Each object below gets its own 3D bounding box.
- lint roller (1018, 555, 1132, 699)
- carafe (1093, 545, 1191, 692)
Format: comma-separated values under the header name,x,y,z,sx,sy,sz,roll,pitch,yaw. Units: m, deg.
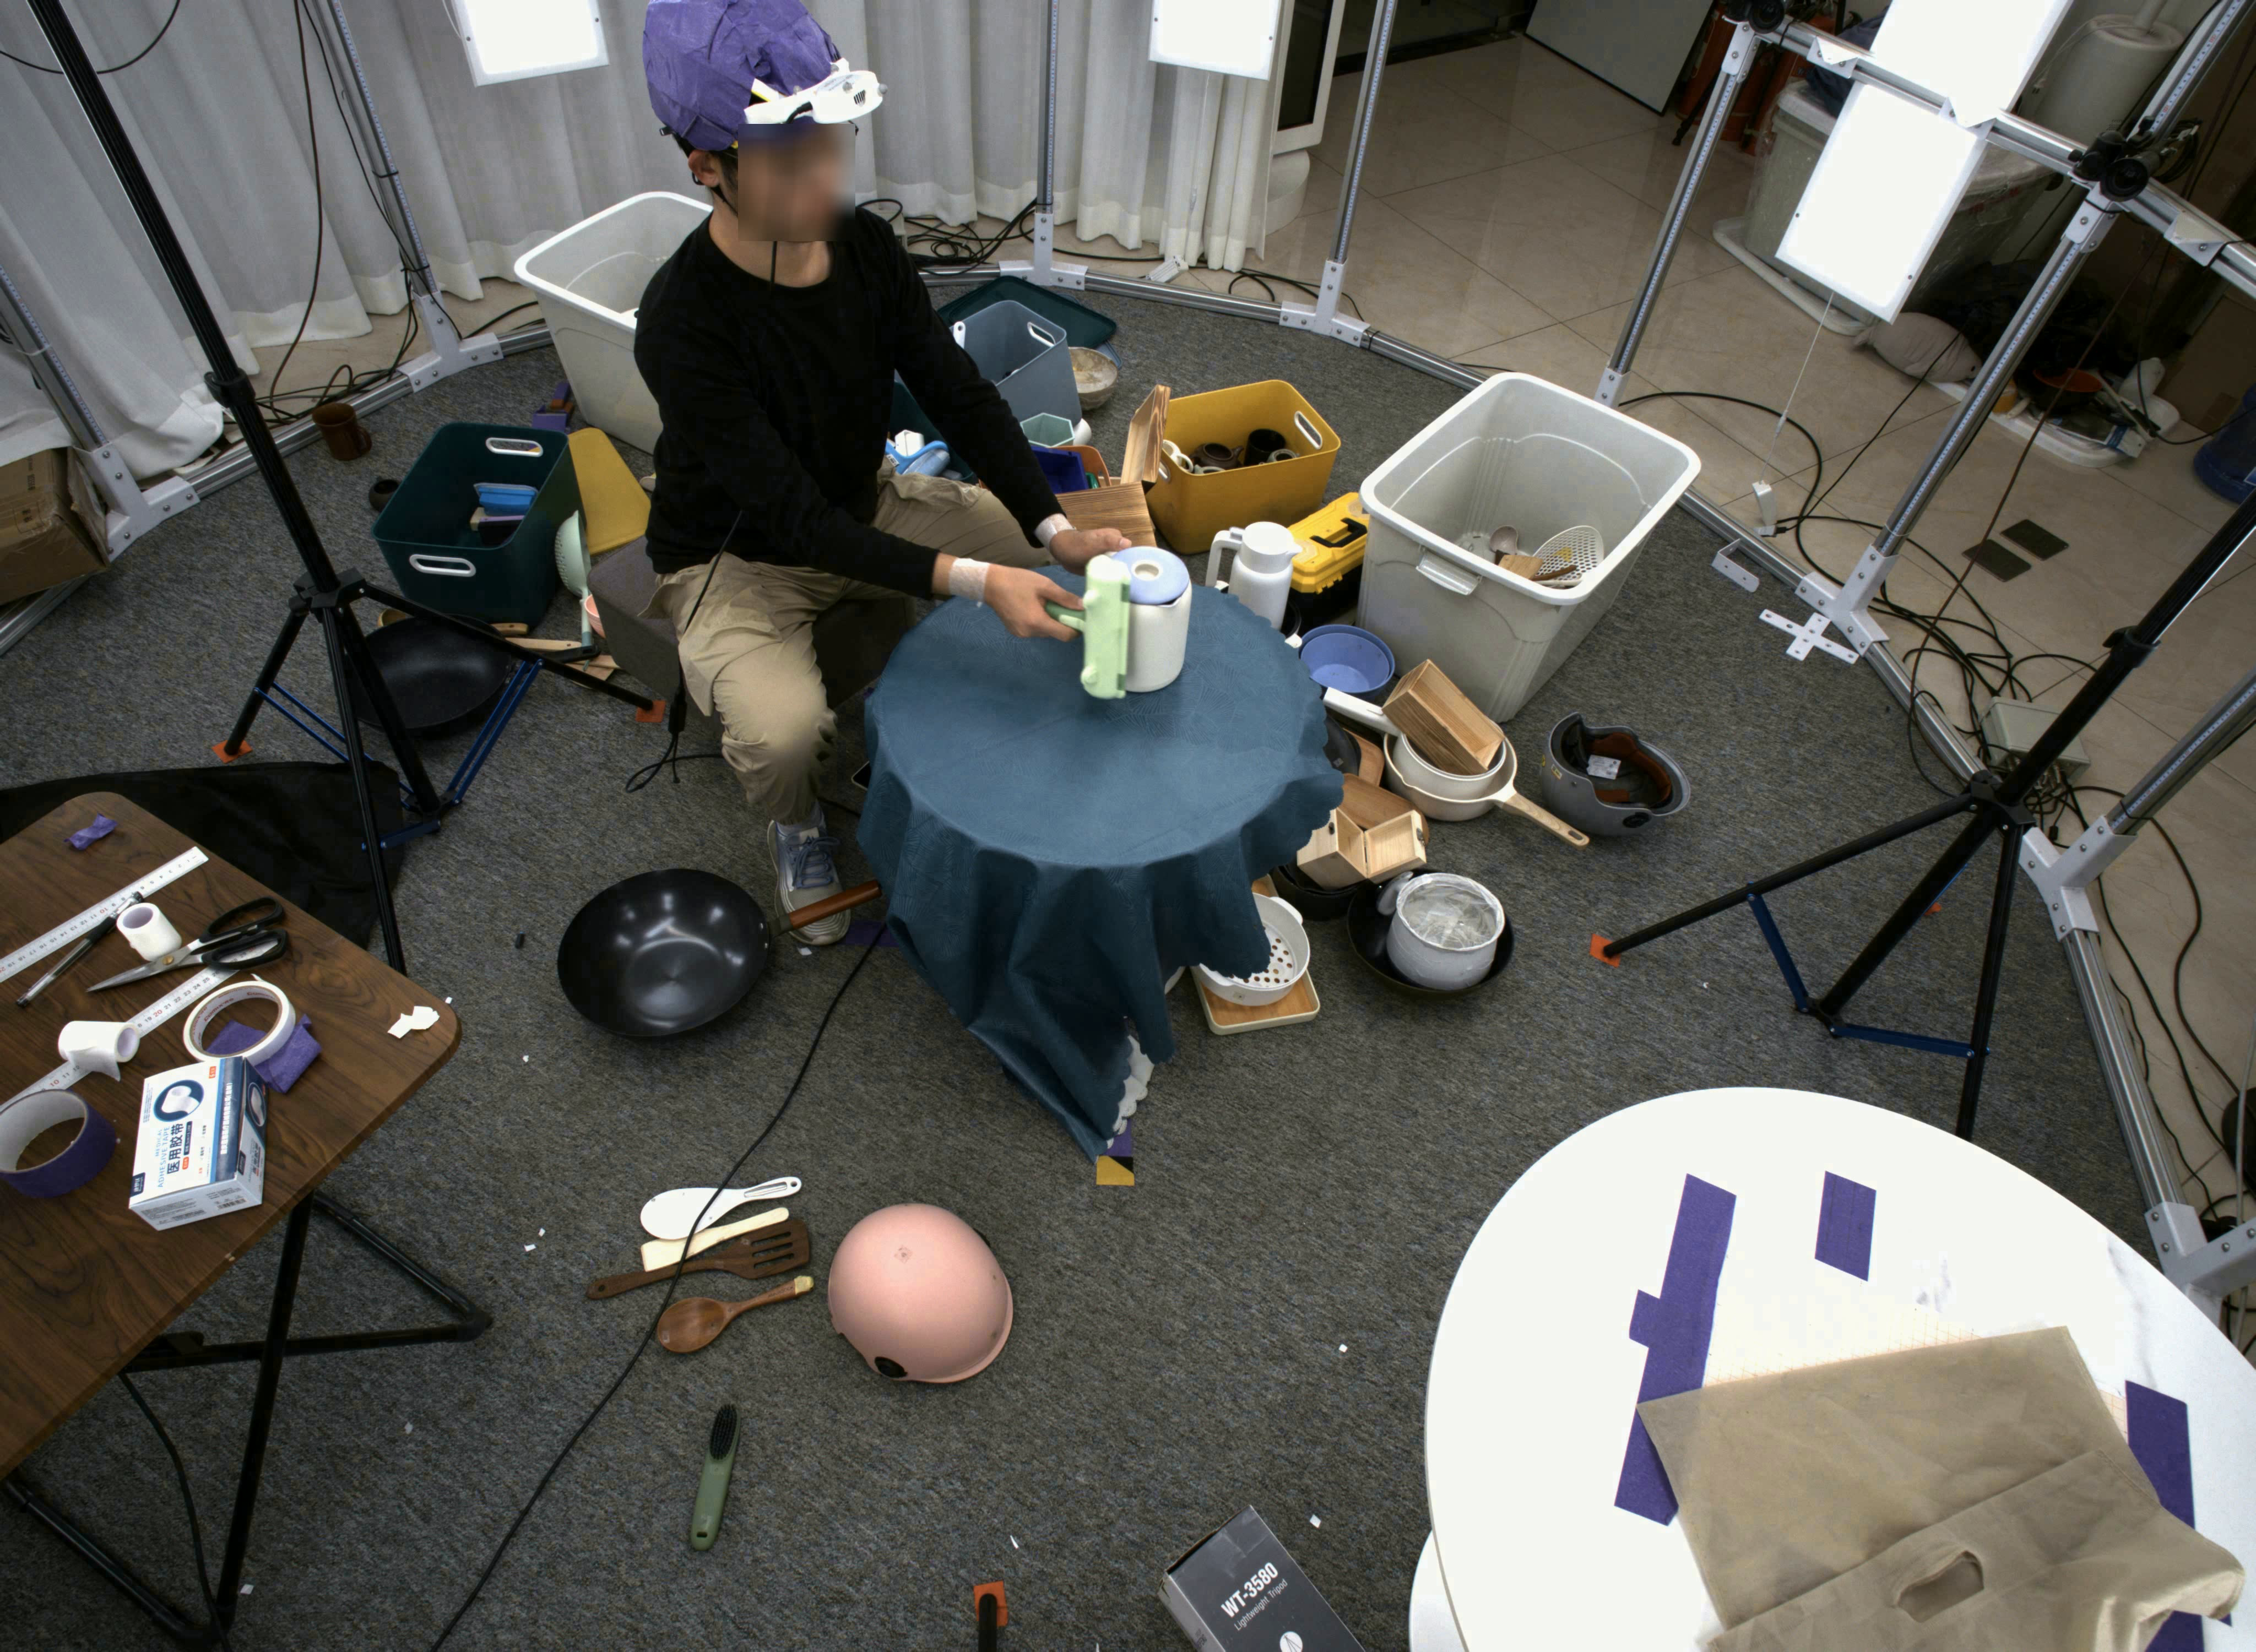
name,x,y,z,sx,sy,sz,roll,pitch,yaw
lint roller,-0.080,-0.275,1.737,0.184,0.194,0.083,17,40,18
carafe,0.006,-0.308,1.826,0.133,0.178,0.195,-24,53,-23
